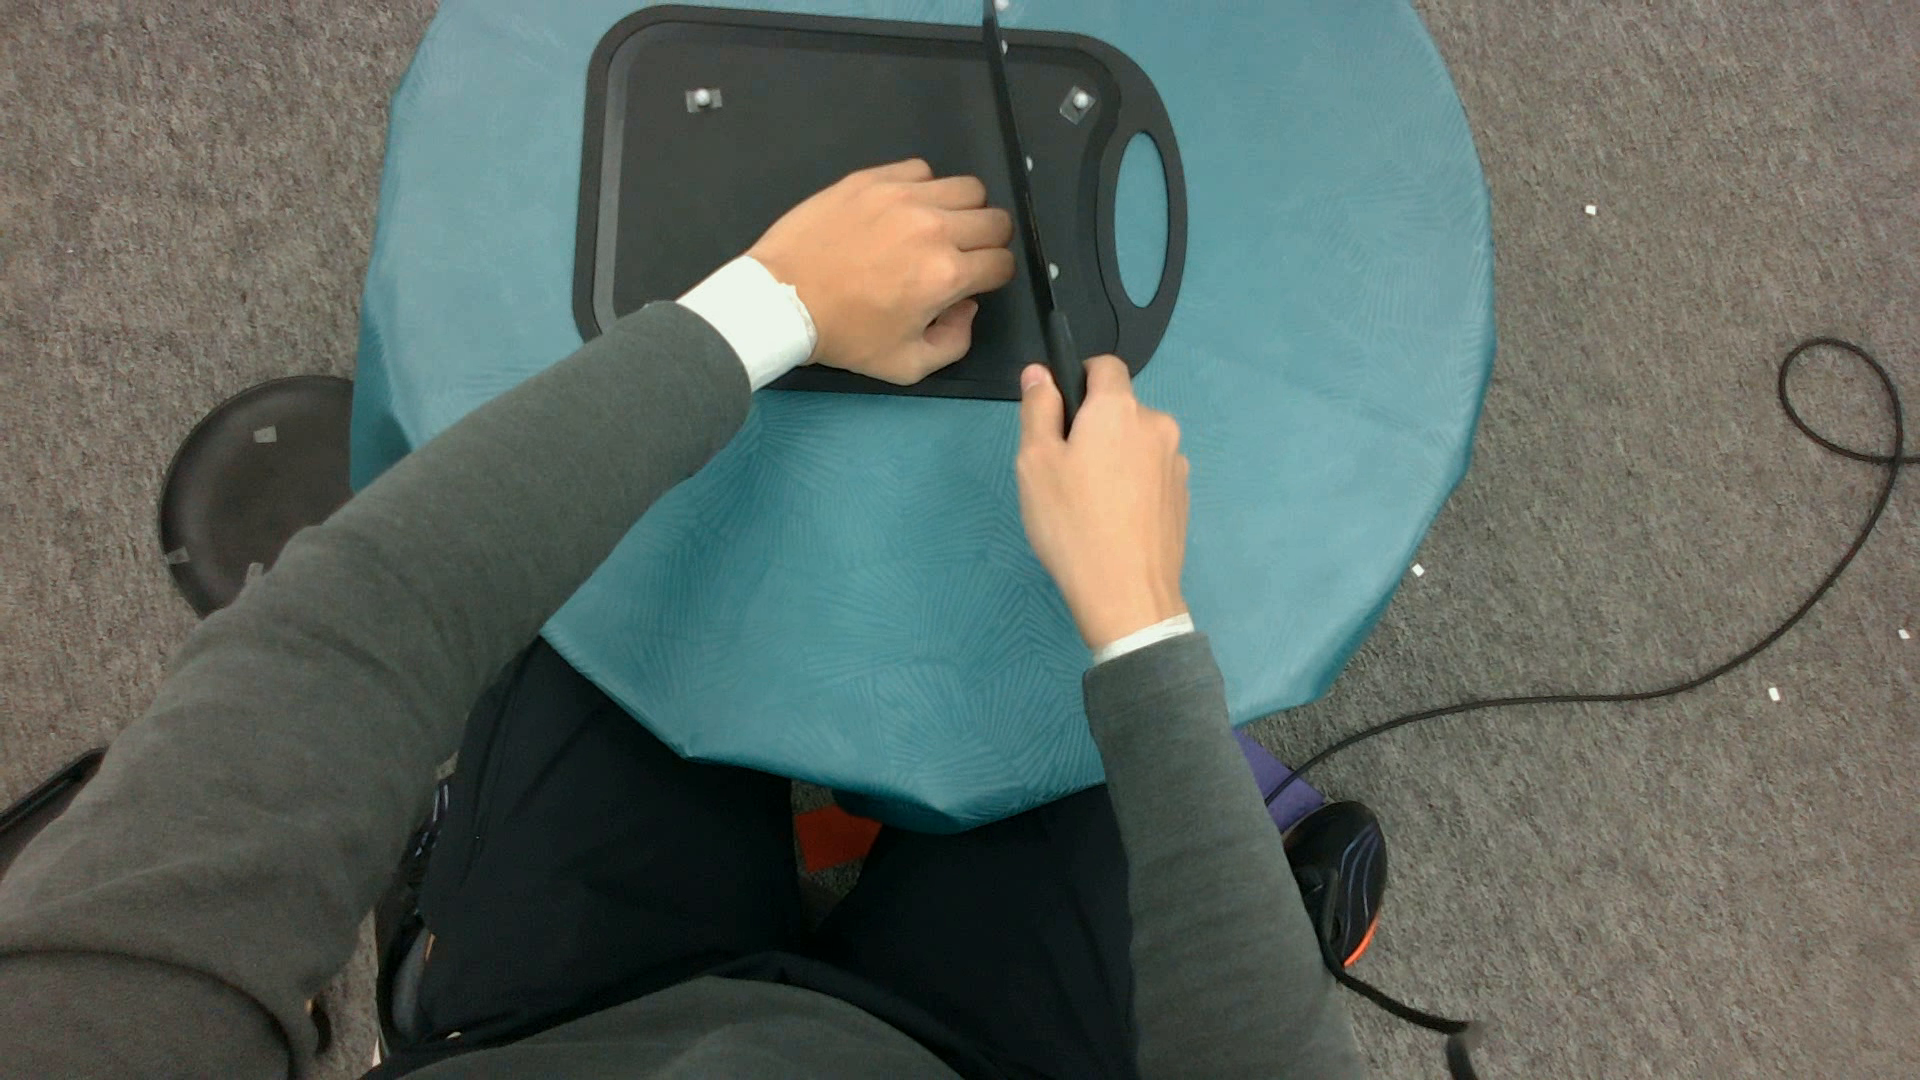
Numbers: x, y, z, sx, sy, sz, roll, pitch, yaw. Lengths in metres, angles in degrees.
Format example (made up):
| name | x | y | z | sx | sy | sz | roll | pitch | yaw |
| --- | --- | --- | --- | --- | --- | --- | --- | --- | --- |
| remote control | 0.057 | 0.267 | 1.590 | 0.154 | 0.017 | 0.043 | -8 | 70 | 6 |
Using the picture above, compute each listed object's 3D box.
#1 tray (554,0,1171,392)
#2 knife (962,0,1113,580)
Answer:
| name | x | y | z | sx | sy | sz | roll | pitch | yaw |
| --- | --- | --- | --- | --- | --- | --- | --- | --- | --- |
| tray | -0.046 | -0.187 | 0.736 | 0.325 | 0.010 | 0.211 | 3 | 81 | -5 |
| knife | 0.032 | -0.128 | 0.673 | 0.021 | 0.081 | 0.303 | -11 | 77 | -3 |
